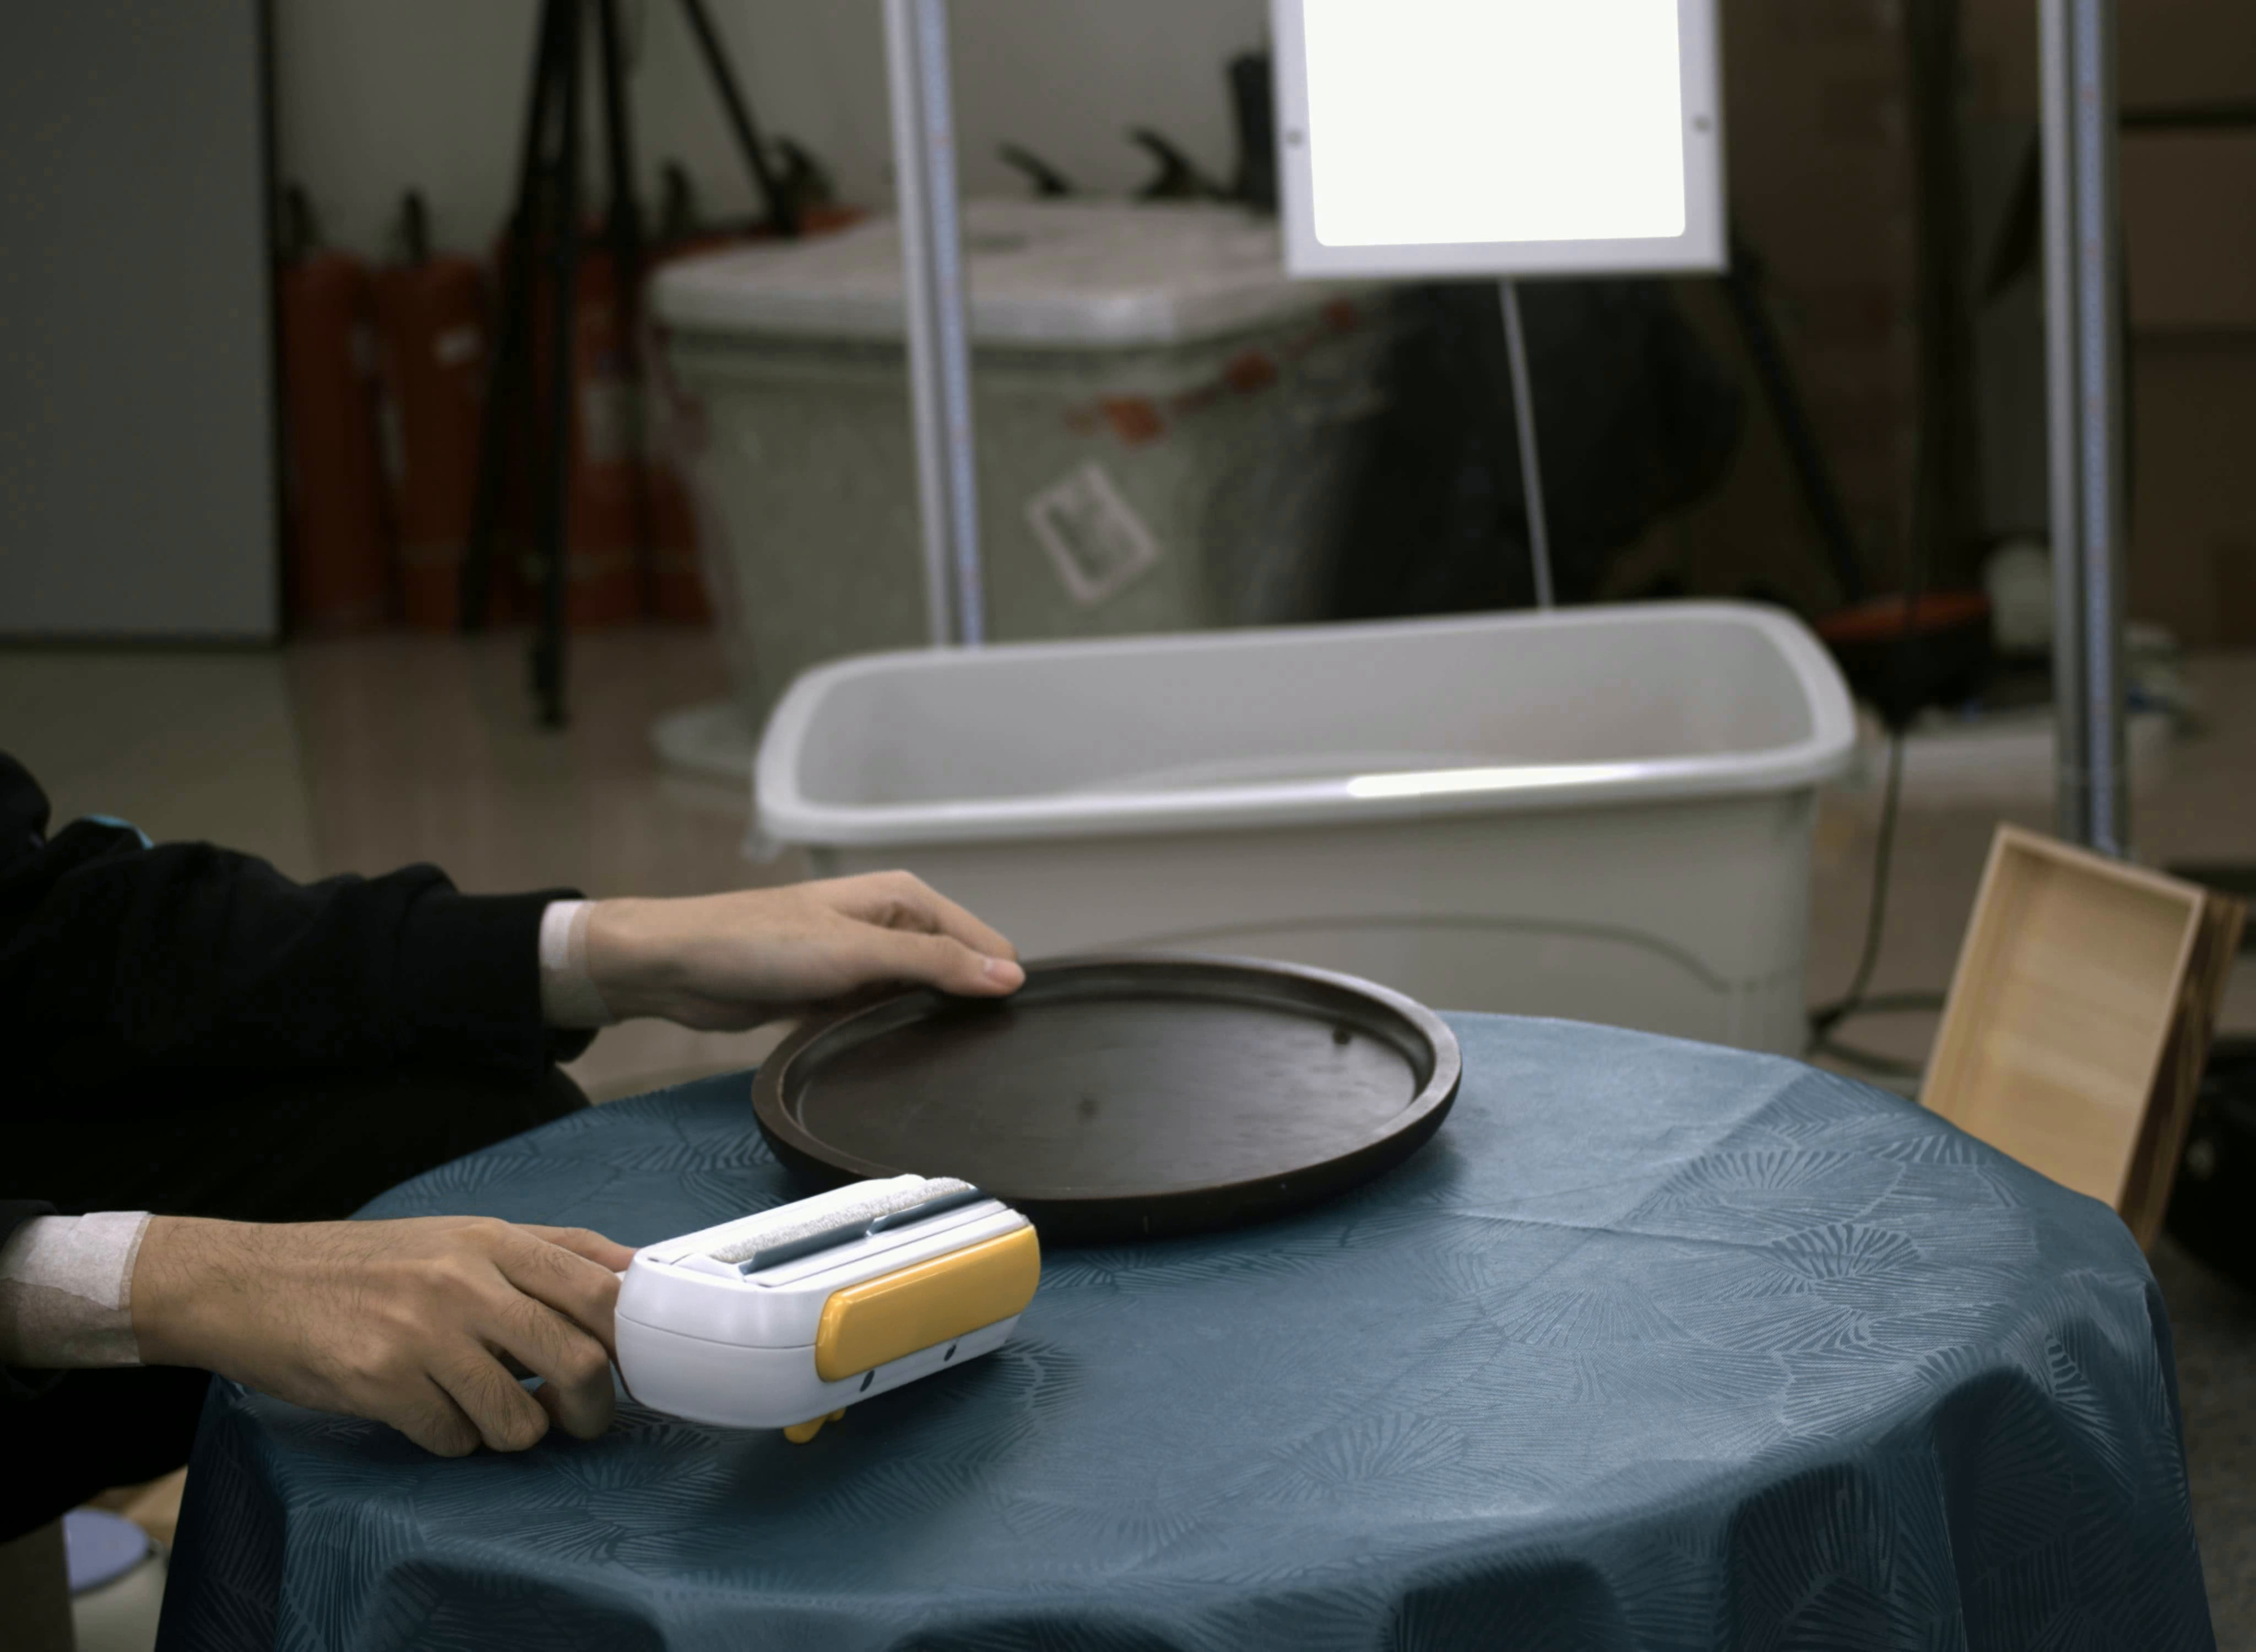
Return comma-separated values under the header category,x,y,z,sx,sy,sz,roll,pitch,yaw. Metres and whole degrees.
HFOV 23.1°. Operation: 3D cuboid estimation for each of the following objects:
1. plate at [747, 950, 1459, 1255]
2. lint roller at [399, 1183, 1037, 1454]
category,x,y,z,sx,sy,sz,roll,pitch,yaw
plate,-0.008,0.095,1.946,0.254,0.029,0.254,-6,18,0
lint roller,-0.144,0.151,1.708,0.196,0.074,0.188,1,9,30
